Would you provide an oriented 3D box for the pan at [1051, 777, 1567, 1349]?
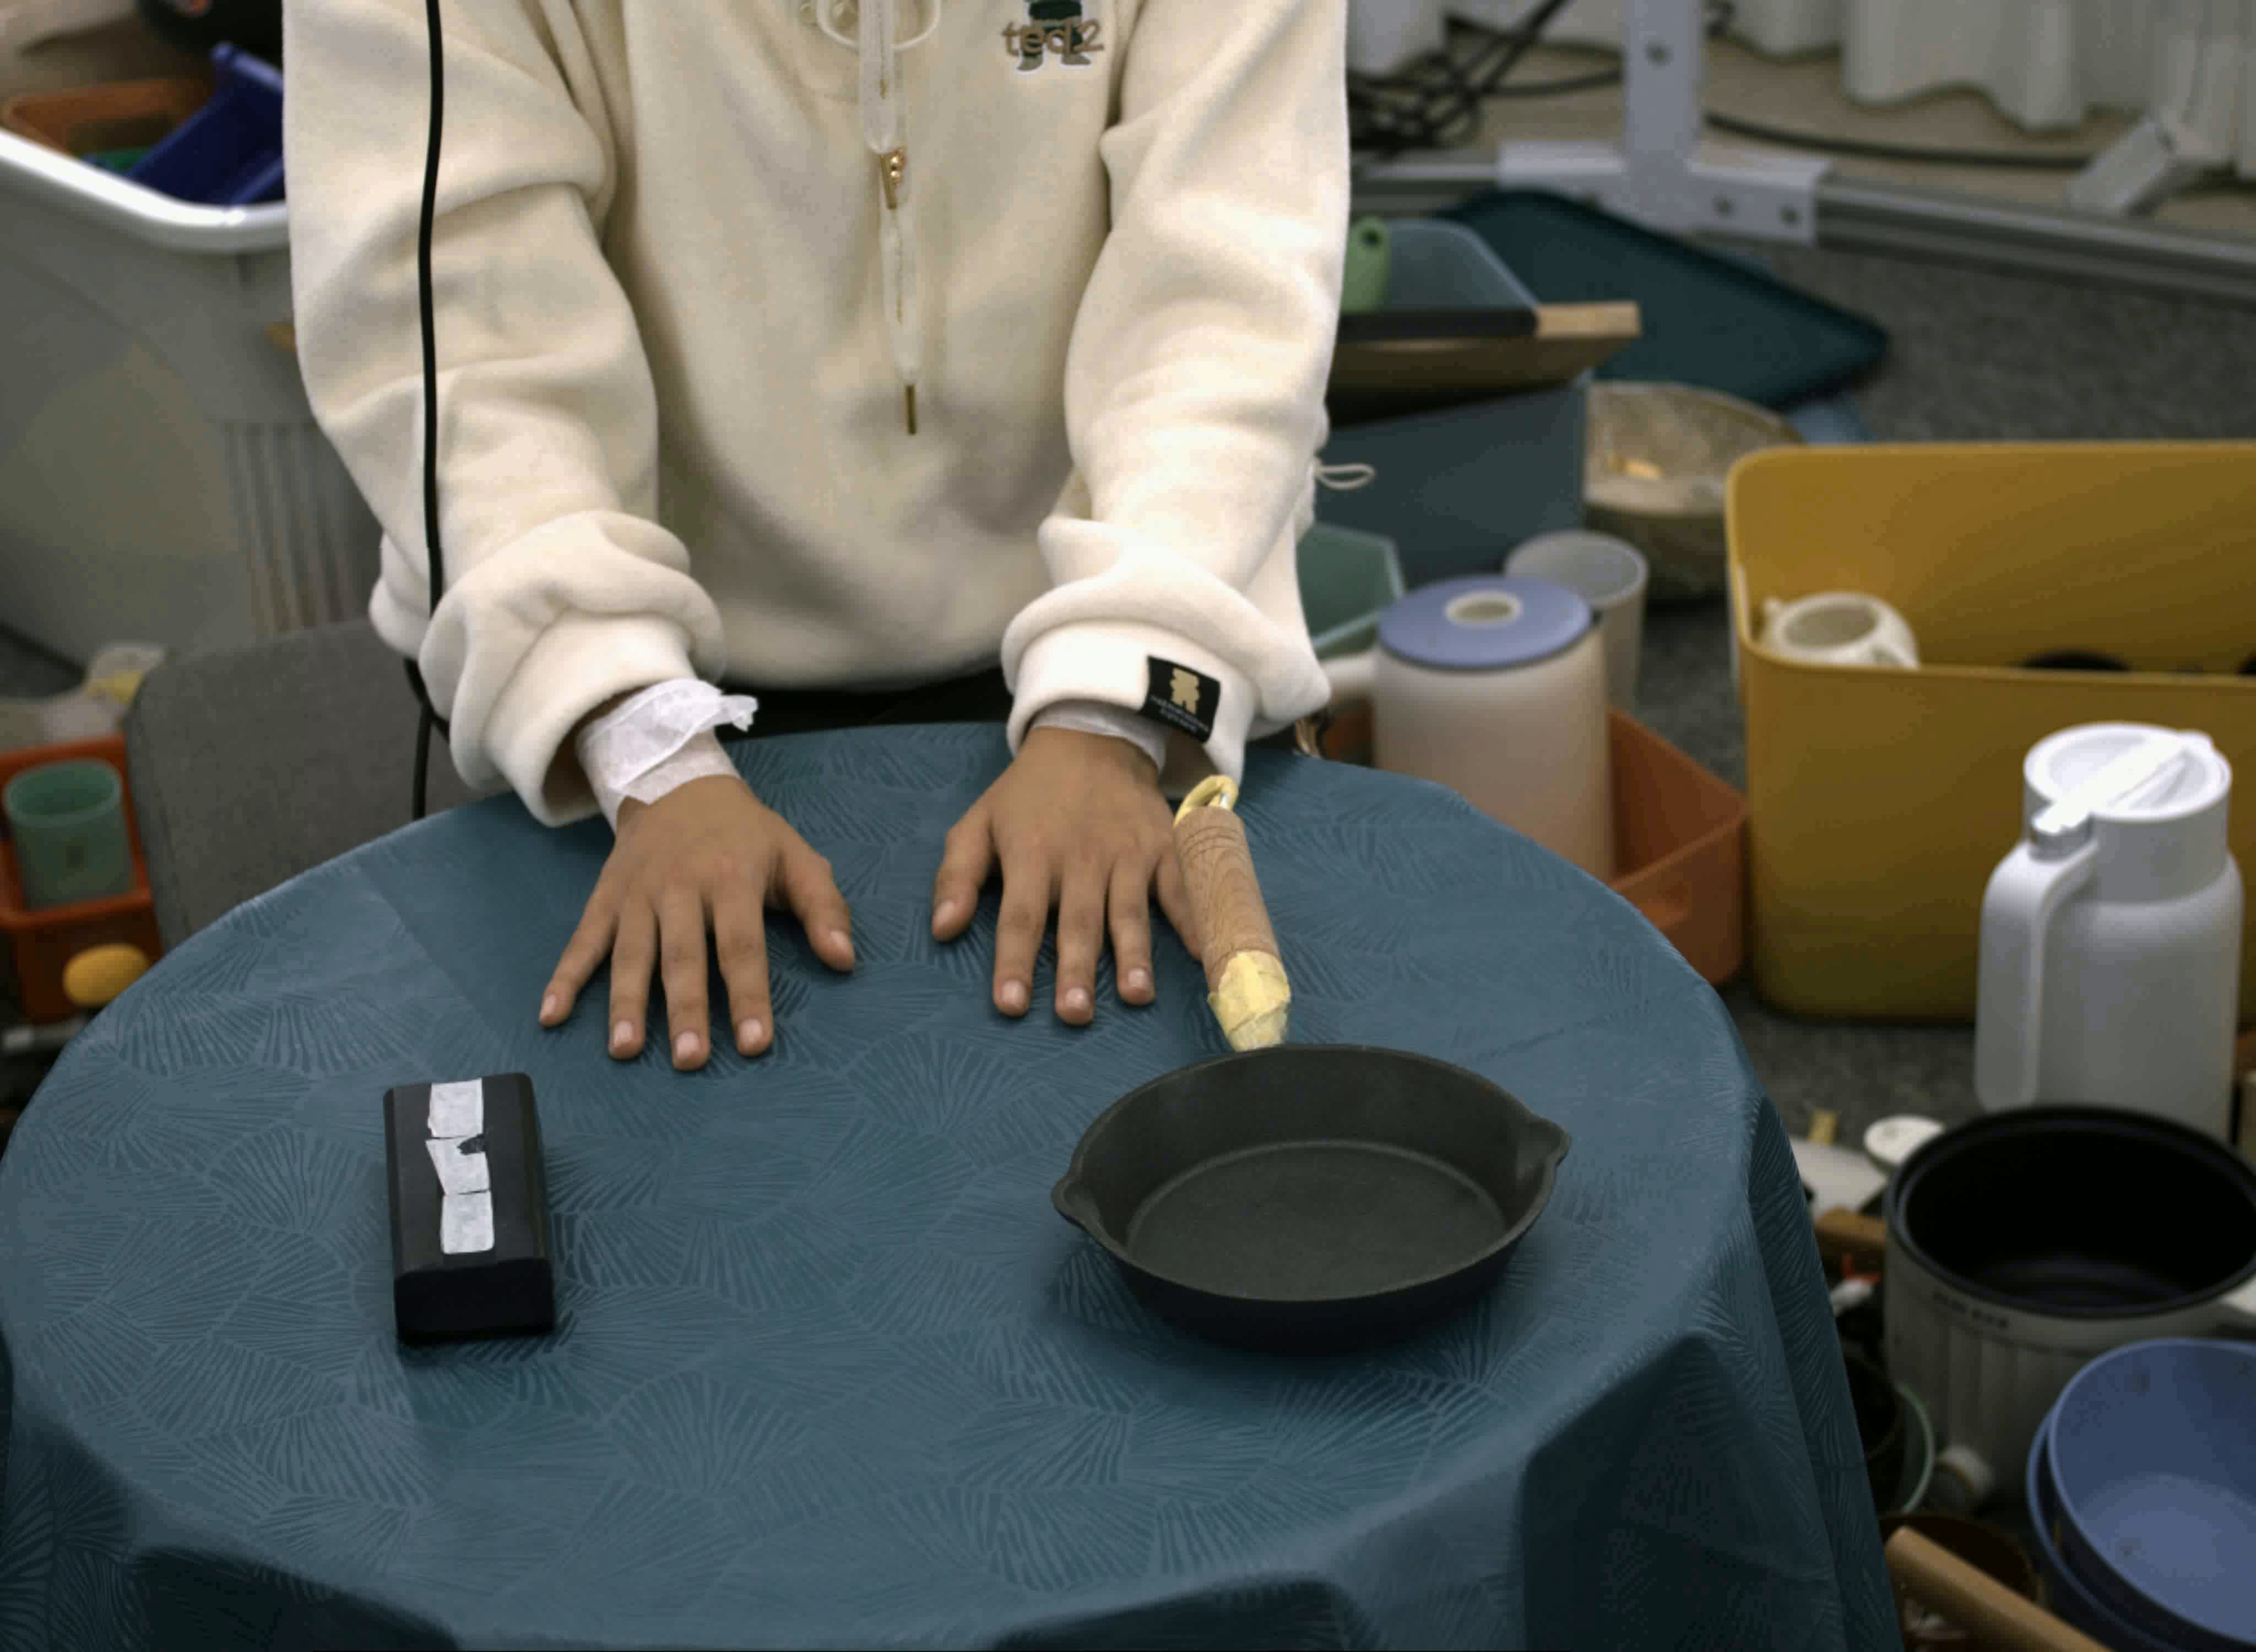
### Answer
[{"bbox_3d":[0.049,0.076,1.888,0.168,0.049,0.328,-6,28,-4],"label":"pan"}]

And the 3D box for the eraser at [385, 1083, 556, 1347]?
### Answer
[{"bbox_3d":[-0.216,0.127,1.843,0.053,0.030,0.127,-5,26,-6],"label":"eraser"}]
